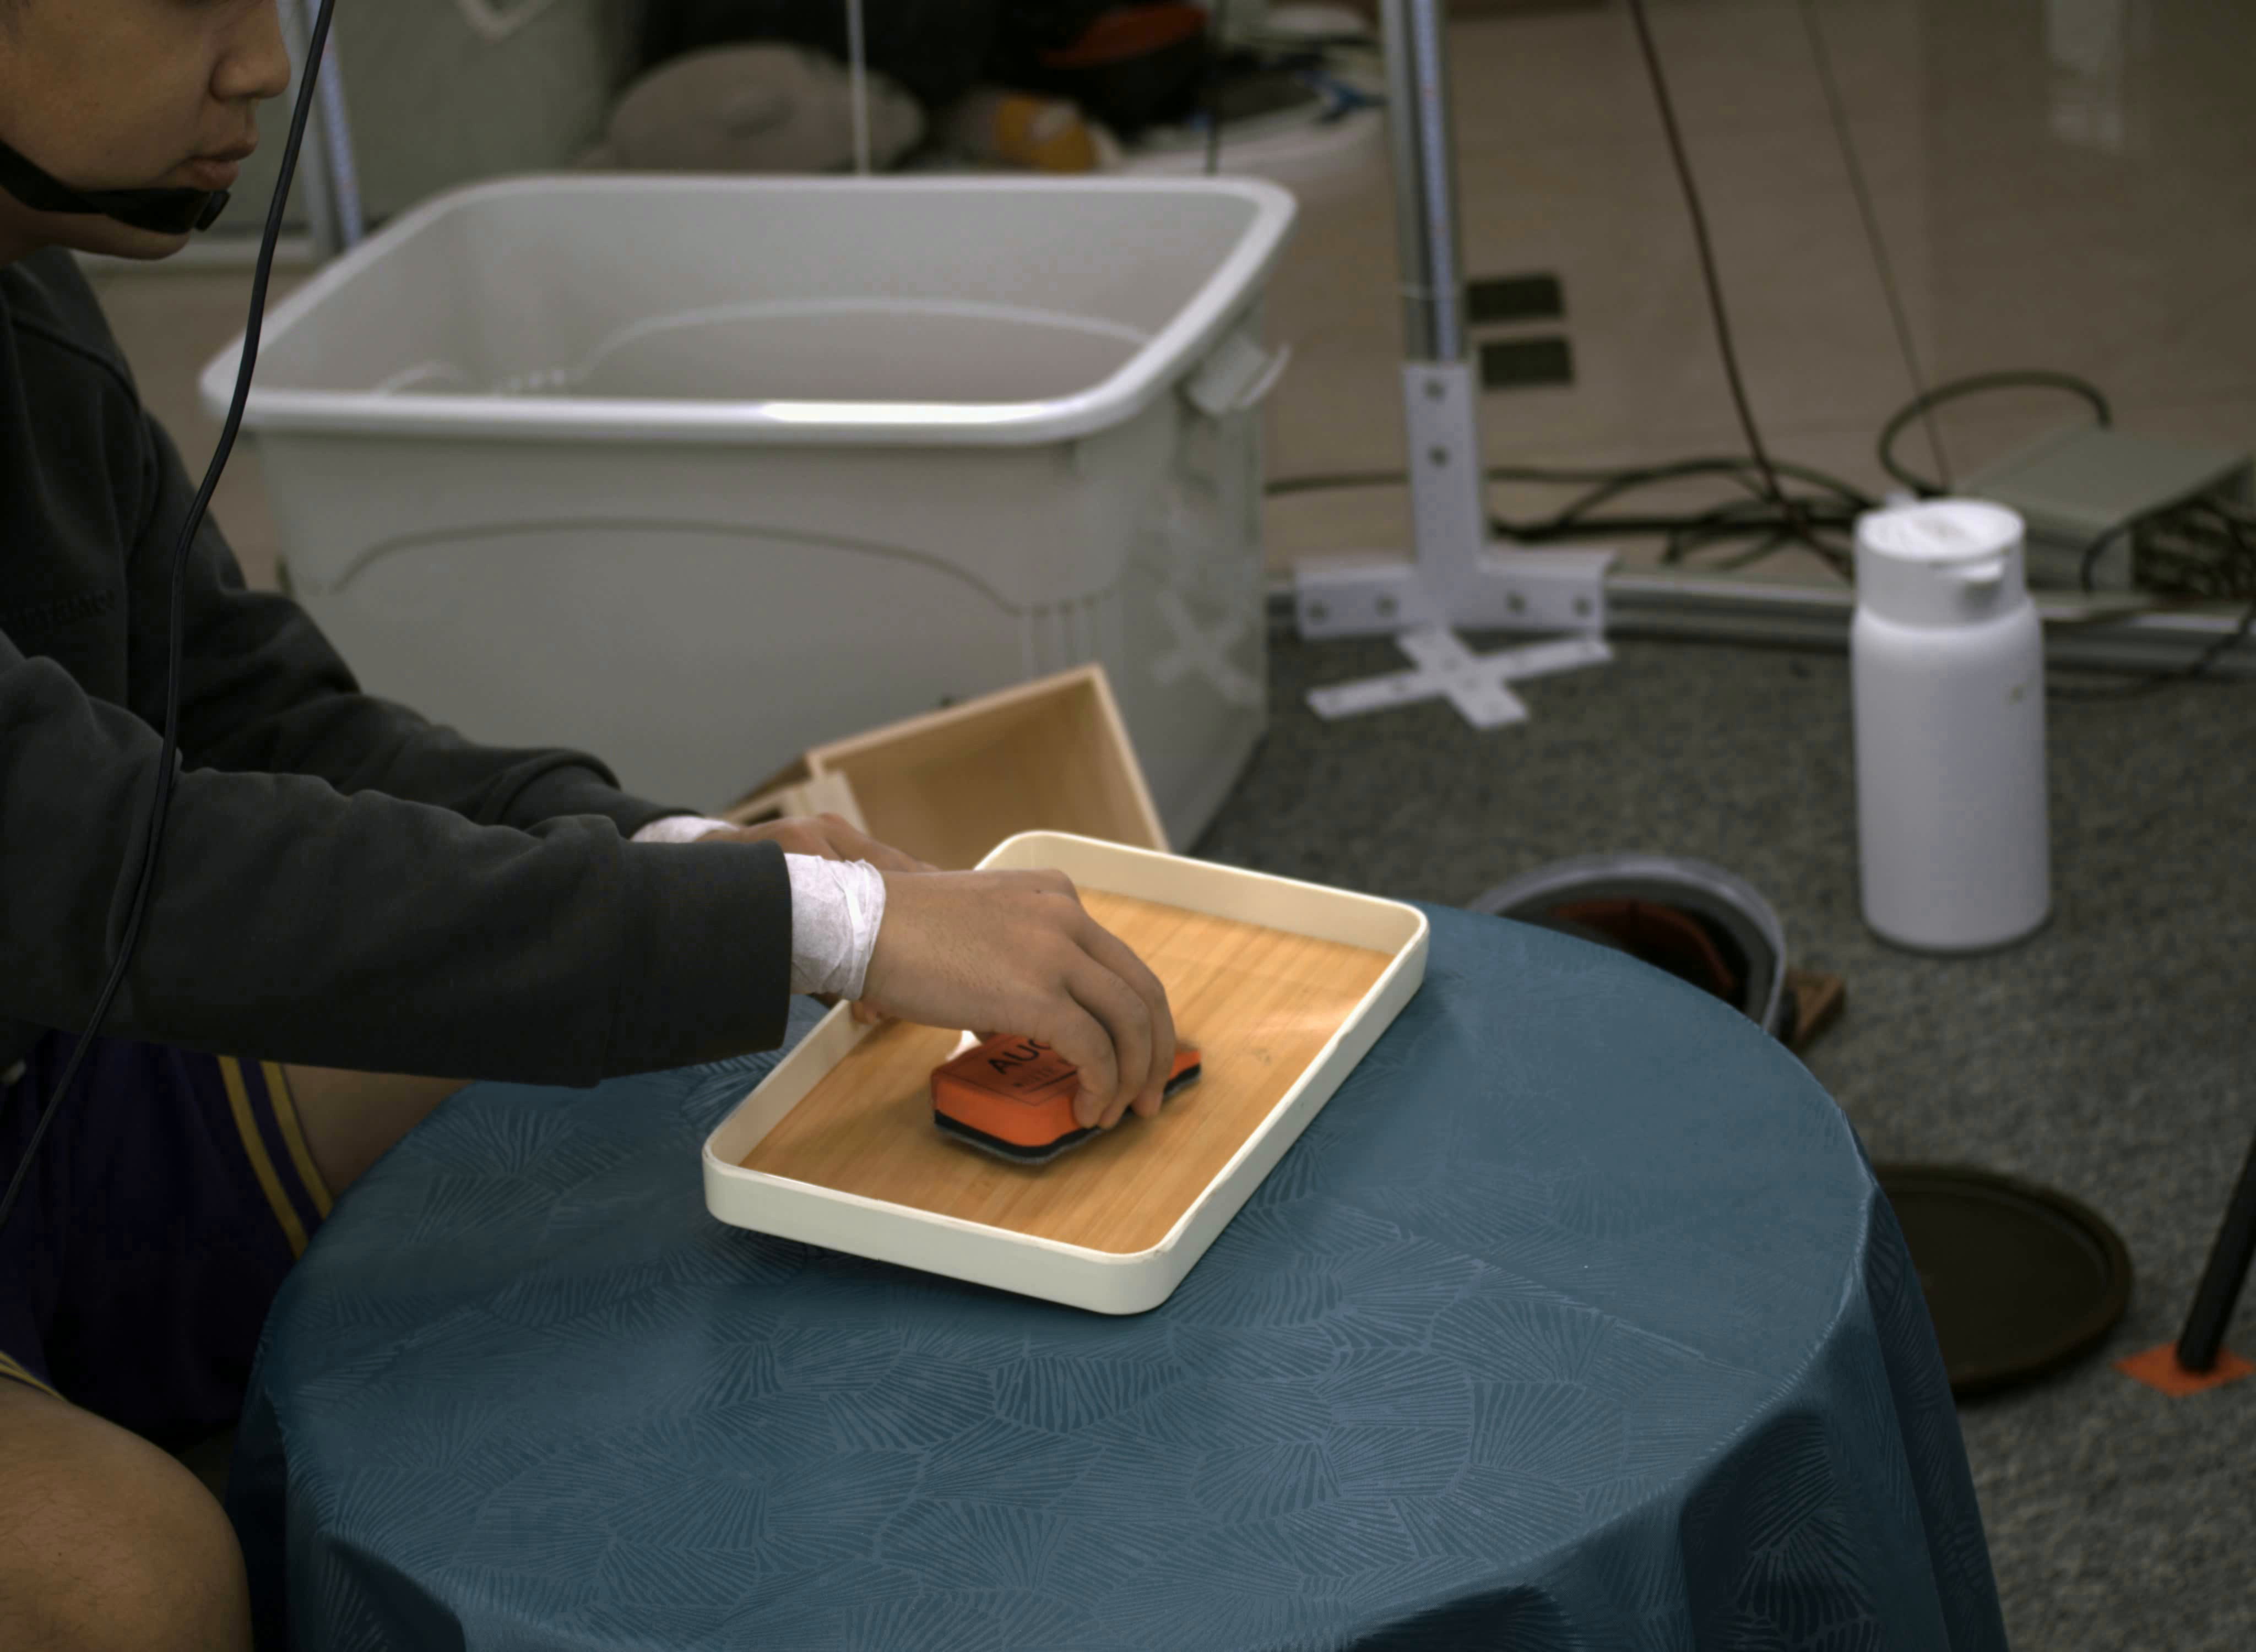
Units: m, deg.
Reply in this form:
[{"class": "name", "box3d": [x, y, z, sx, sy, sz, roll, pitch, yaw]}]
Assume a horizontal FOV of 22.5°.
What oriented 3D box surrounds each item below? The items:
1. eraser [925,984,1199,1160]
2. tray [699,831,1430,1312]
[{"class": "eraser", "box3d": [-0.025, 0.094, 2.174, 0.058, 0.023, 0.107, 21, 31, 33]}, {"class": "tray", "box3d": [-0.020, 0.090, 2.200, 0.191, 0.028, 0.296, 12, 30, 21]}]
